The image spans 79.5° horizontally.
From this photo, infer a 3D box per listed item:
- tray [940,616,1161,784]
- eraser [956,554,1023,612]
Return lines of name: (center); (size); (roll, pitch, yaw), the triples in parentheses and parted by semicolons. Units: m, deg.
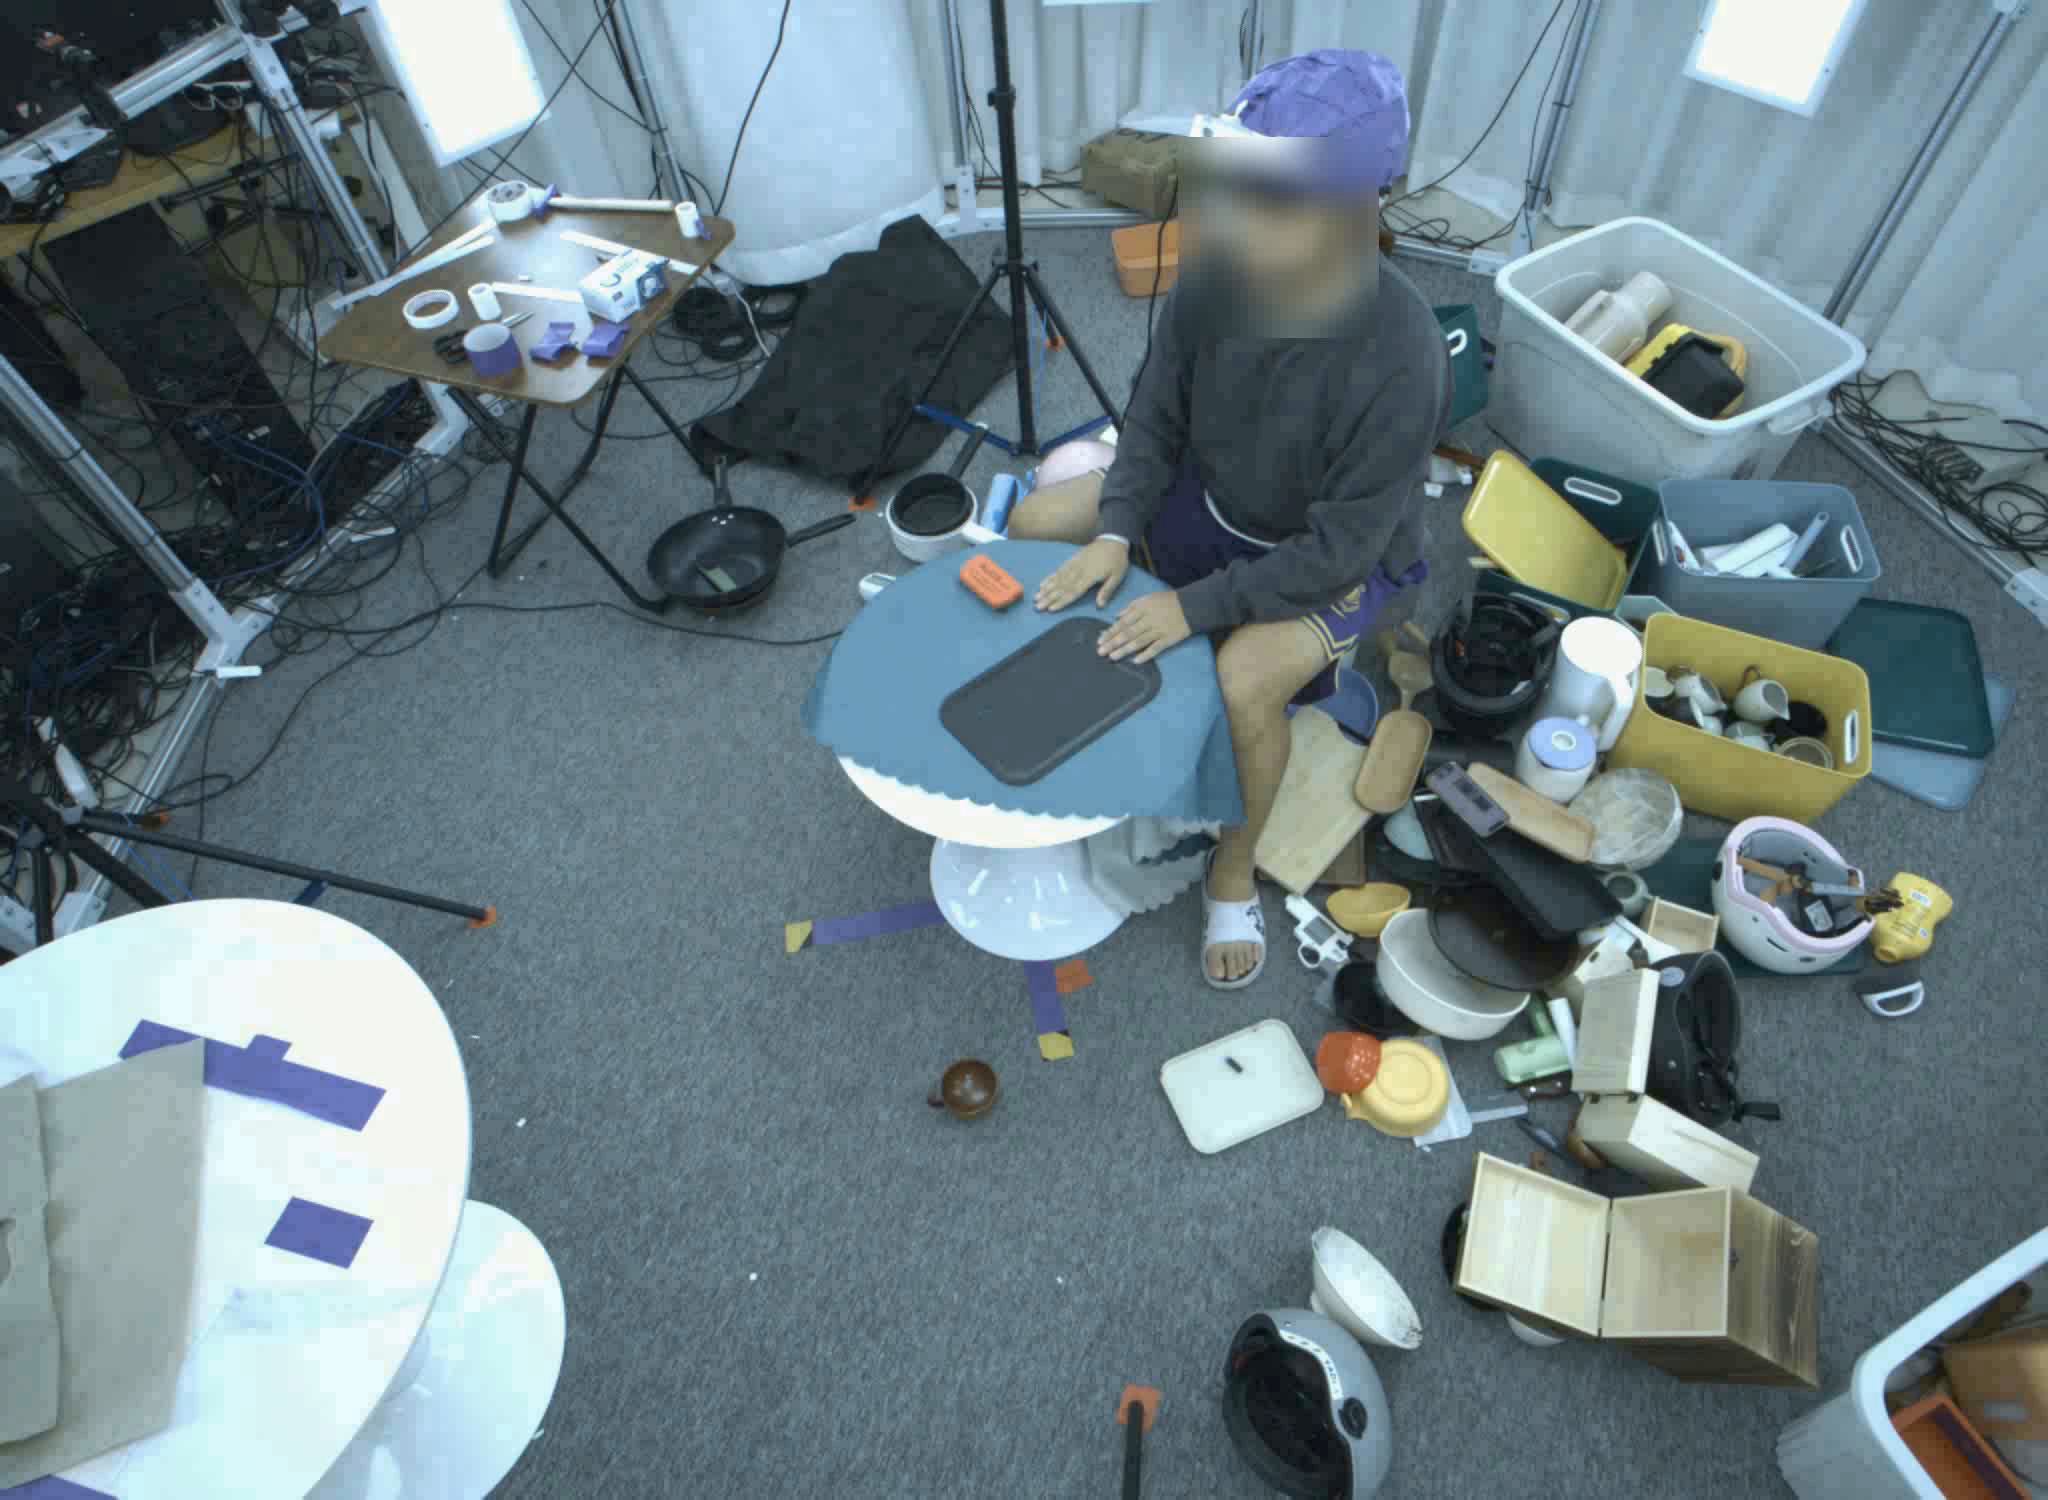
tray: (0.046, -0.087, 1.846); (0.328, 0.010, 0.207); (-34, 61, -21)
eraser: (-0.056, -0.269, 1.965); (0.059, 0.023, 0.106); (-37, 63, -21)
